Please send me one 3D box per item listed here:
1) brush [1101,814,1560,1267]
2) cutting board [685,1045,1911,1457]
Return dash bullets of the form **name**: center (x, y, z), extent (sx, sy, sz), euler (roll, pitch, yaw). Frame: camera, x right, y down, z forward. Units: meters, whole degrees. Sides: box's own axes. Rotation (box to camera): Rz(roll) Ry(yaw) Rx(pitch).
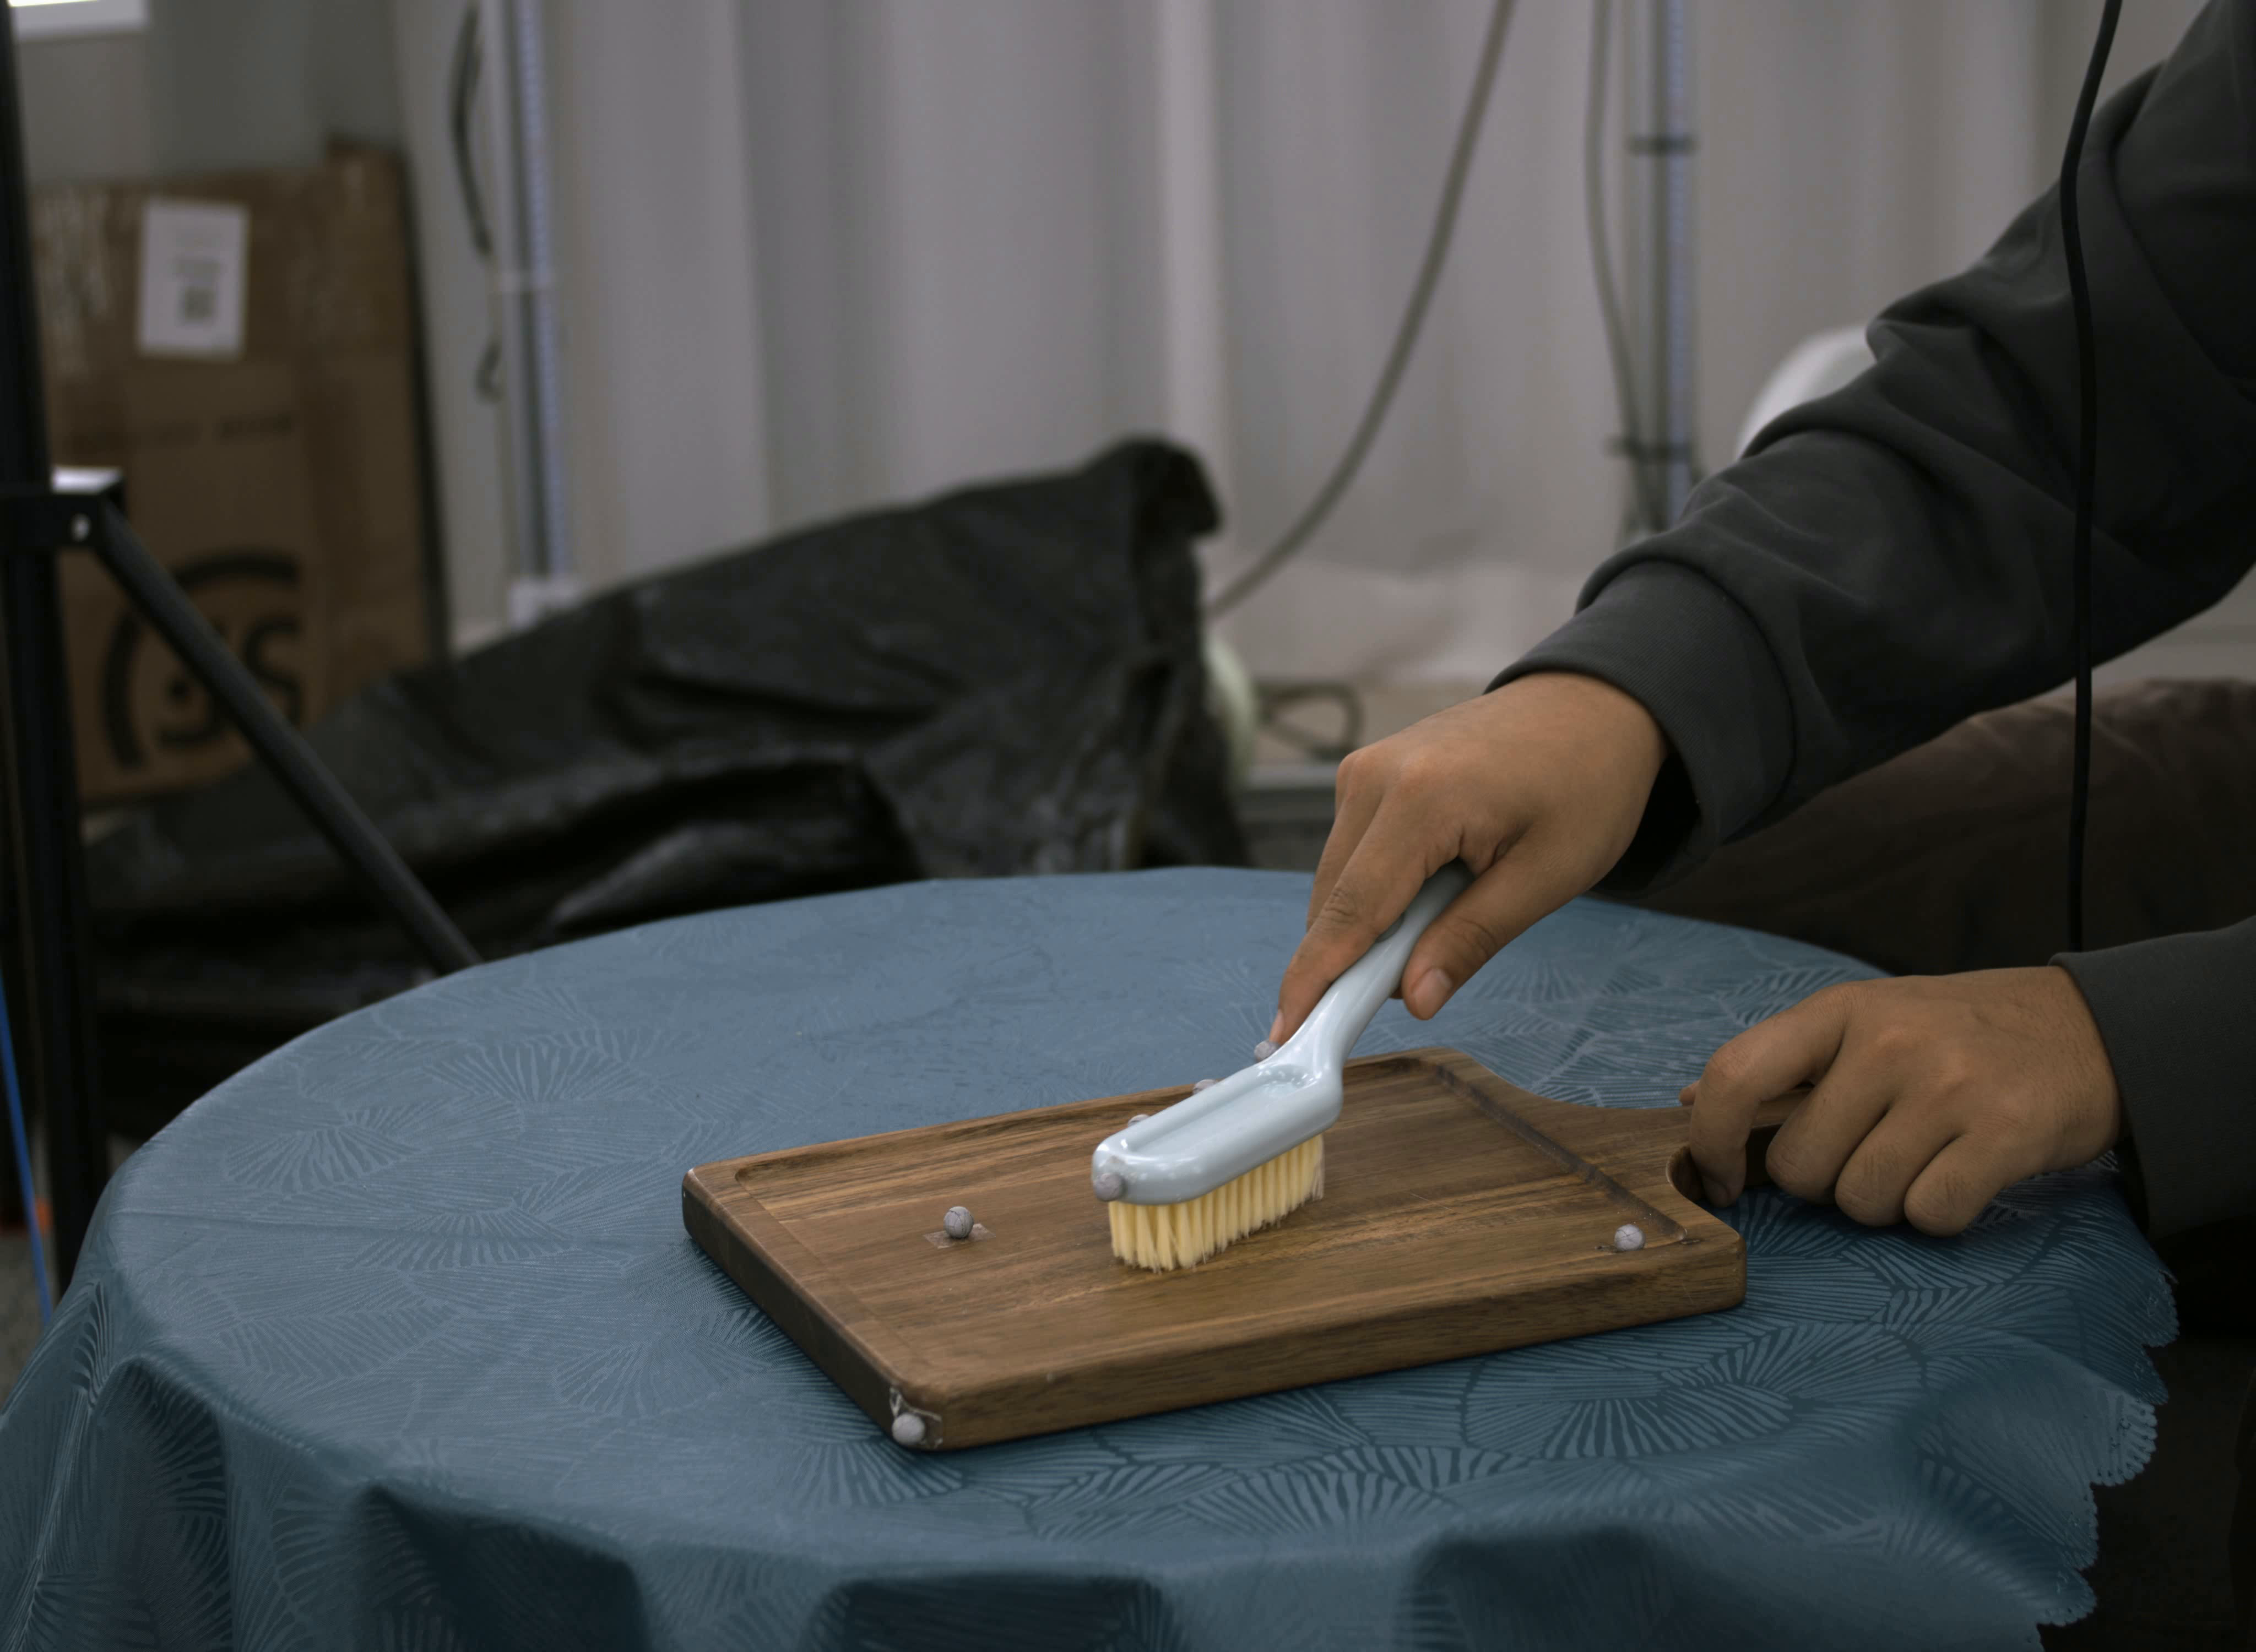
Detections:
- **brush**: center (0.064, 0.059, 1.527), extent (0.038, 0.049, 0.226), euler (7, 33, 33)
- **cutting board**: center (0.068, 0.109, 1.506), extent (0.346, 0.023, 0.205), euler (-8, 17, -19)
